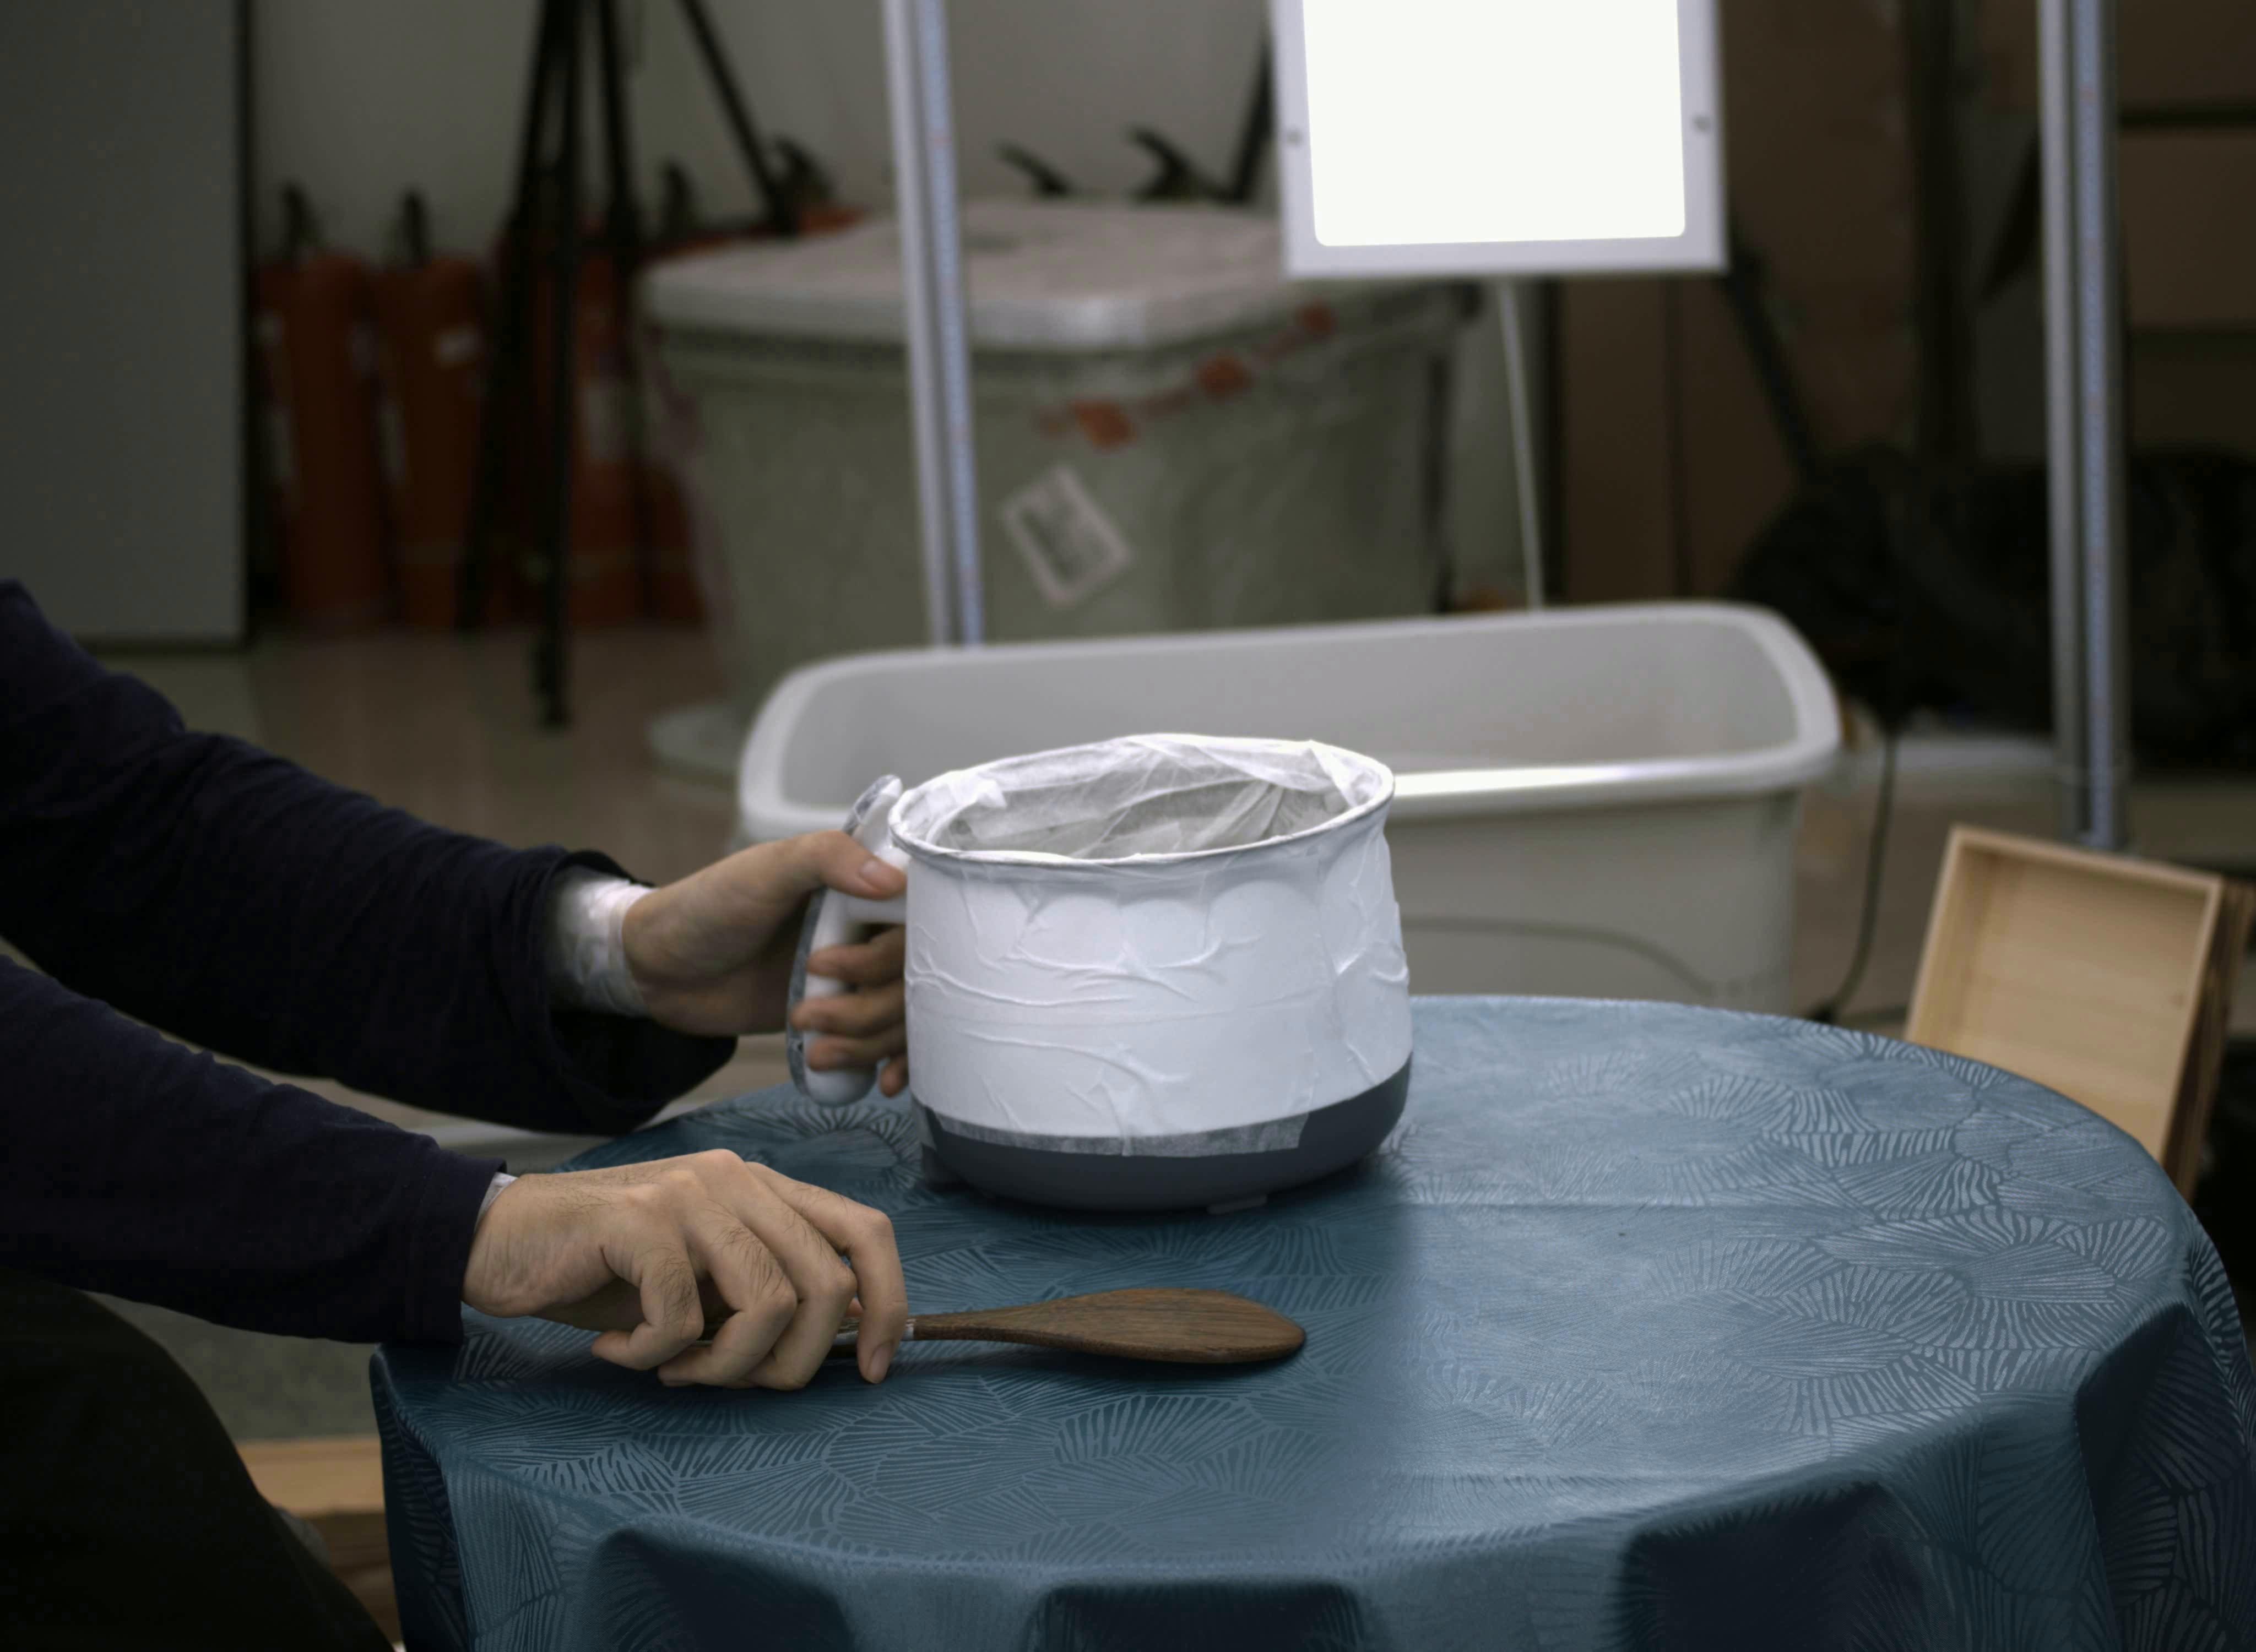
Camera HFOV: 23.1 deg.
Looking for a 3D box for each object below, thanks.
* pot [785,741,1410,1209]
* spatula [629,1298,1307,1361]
[{"bbox_3d":[-0.015,0.049,1.932,0.237,0.137,0.175,3,13,25],"label":"pot"},{"bbox_3d":[-0.051,0.162,1.744,0.216,0.009,0.071,-2,9,5],"label":"spatula"}]
